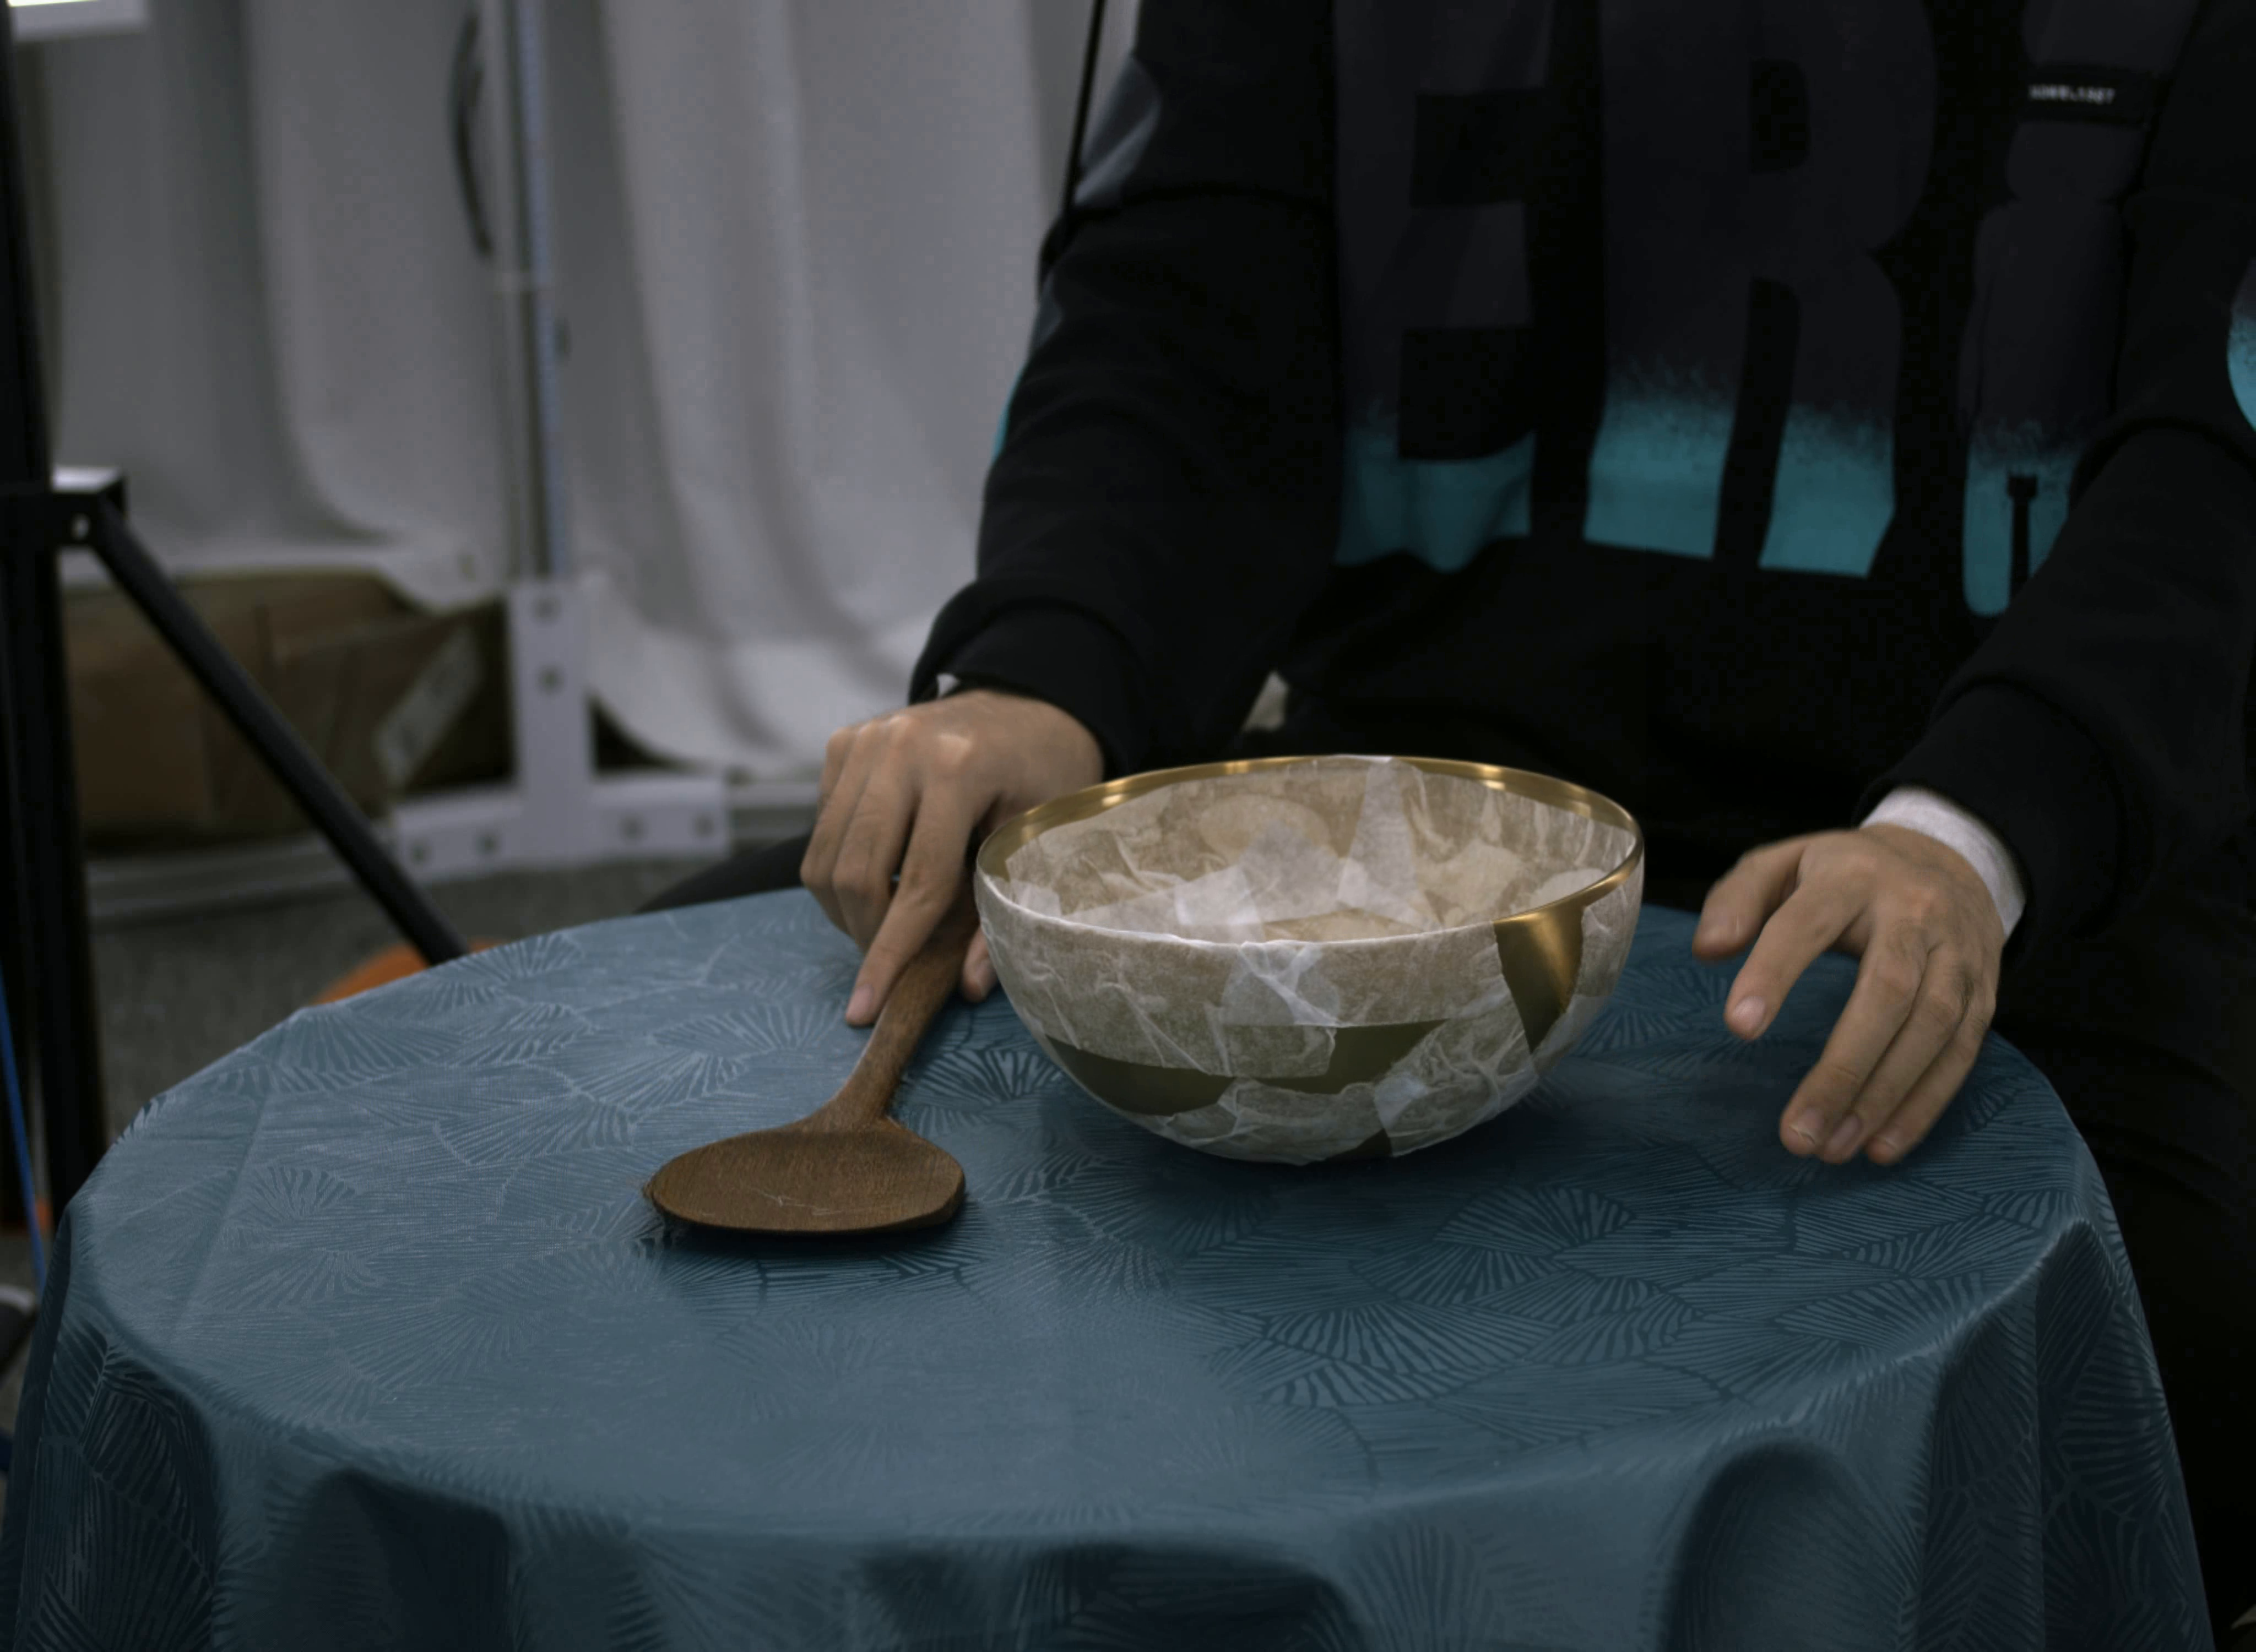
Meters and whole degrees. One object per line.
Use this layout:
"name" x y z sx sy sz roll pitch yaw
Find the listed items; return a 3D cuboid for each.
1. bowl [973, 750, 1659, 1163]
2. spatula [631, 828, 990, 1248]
"bowl" 0.059 0.047 1.593 0.213 0.094 0.216 -4 15 0
"spatula" -0.072 0.061 1.696 0.096 0.016 0.385 1 18 9
